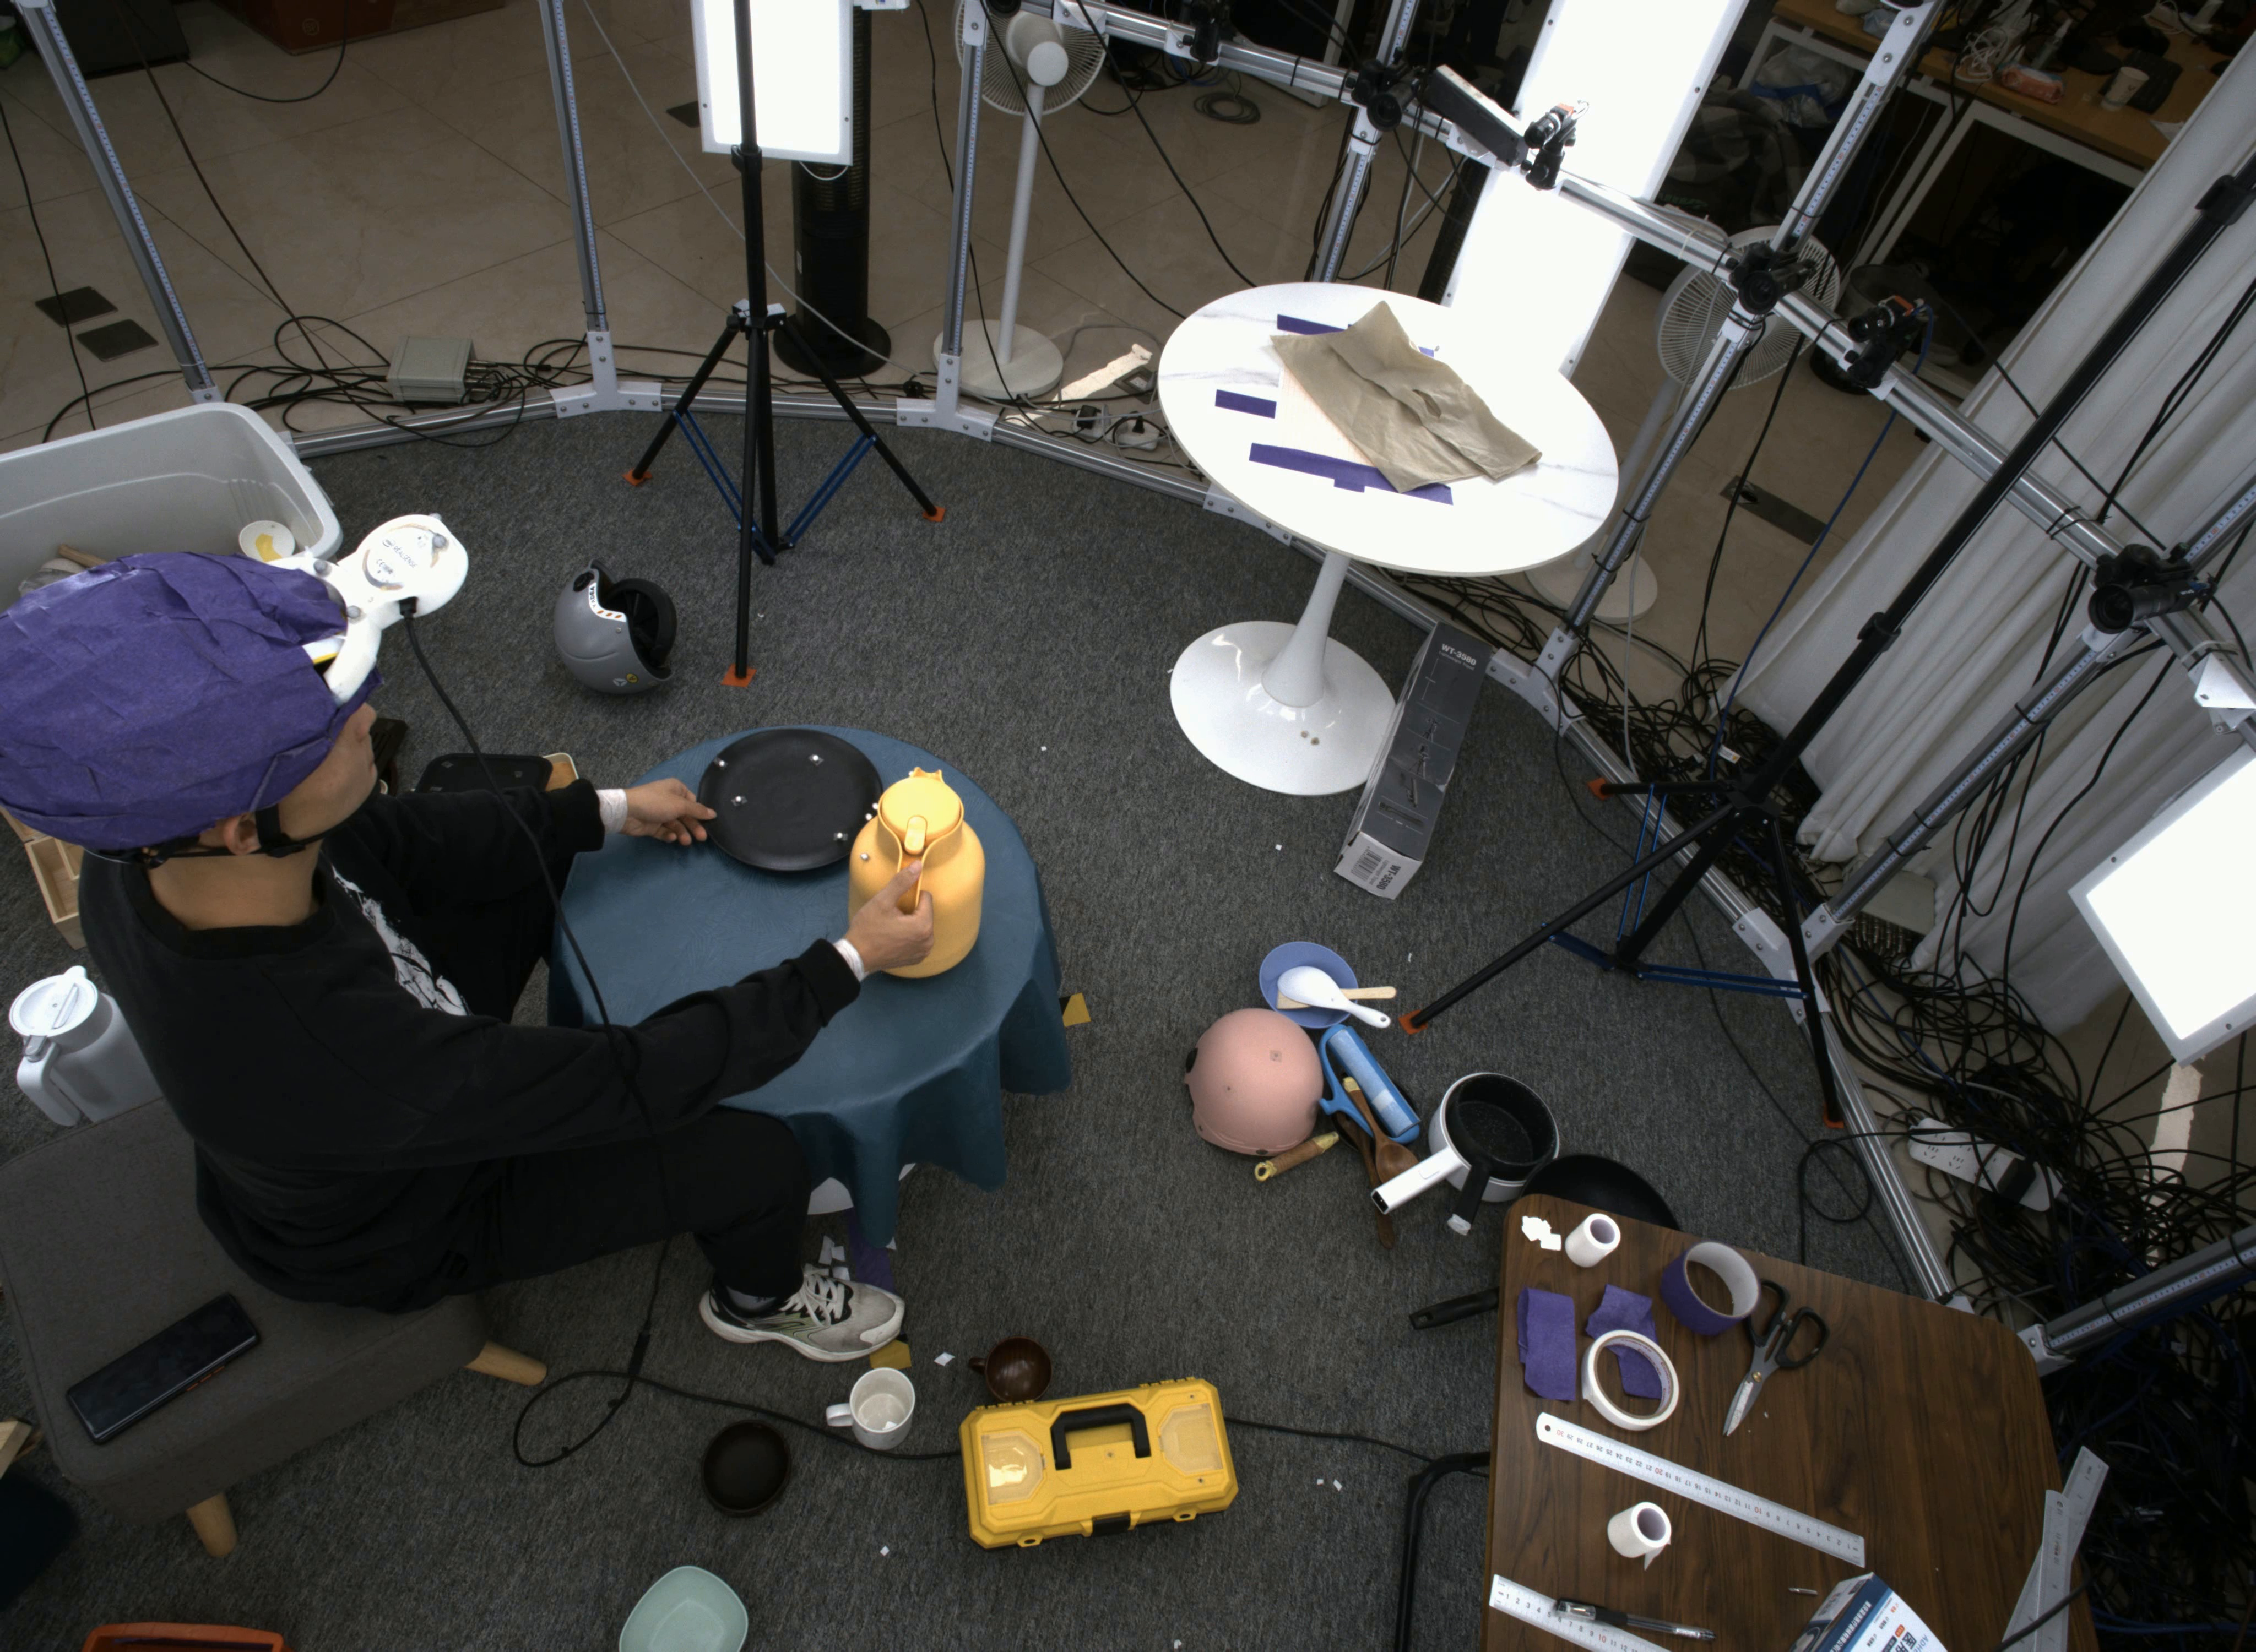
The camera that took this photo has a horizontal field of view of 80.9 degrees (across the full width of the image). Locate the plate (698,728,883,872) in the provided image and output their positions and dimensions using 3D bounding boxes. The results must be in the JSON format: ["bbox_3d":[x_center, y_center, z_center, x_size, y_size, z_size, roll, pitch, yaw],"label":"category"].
[{"bbox_3d":[-0.447,-0.034,1.725,0.244,0.024,0.240,8,52,-9],"label":"plate"}]

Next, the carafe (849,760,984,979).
[{"bbox_3d":[-0.255,0.065,1.542,0.162,0.267,0.199,8,47,-2],"label":"carafe"}]
